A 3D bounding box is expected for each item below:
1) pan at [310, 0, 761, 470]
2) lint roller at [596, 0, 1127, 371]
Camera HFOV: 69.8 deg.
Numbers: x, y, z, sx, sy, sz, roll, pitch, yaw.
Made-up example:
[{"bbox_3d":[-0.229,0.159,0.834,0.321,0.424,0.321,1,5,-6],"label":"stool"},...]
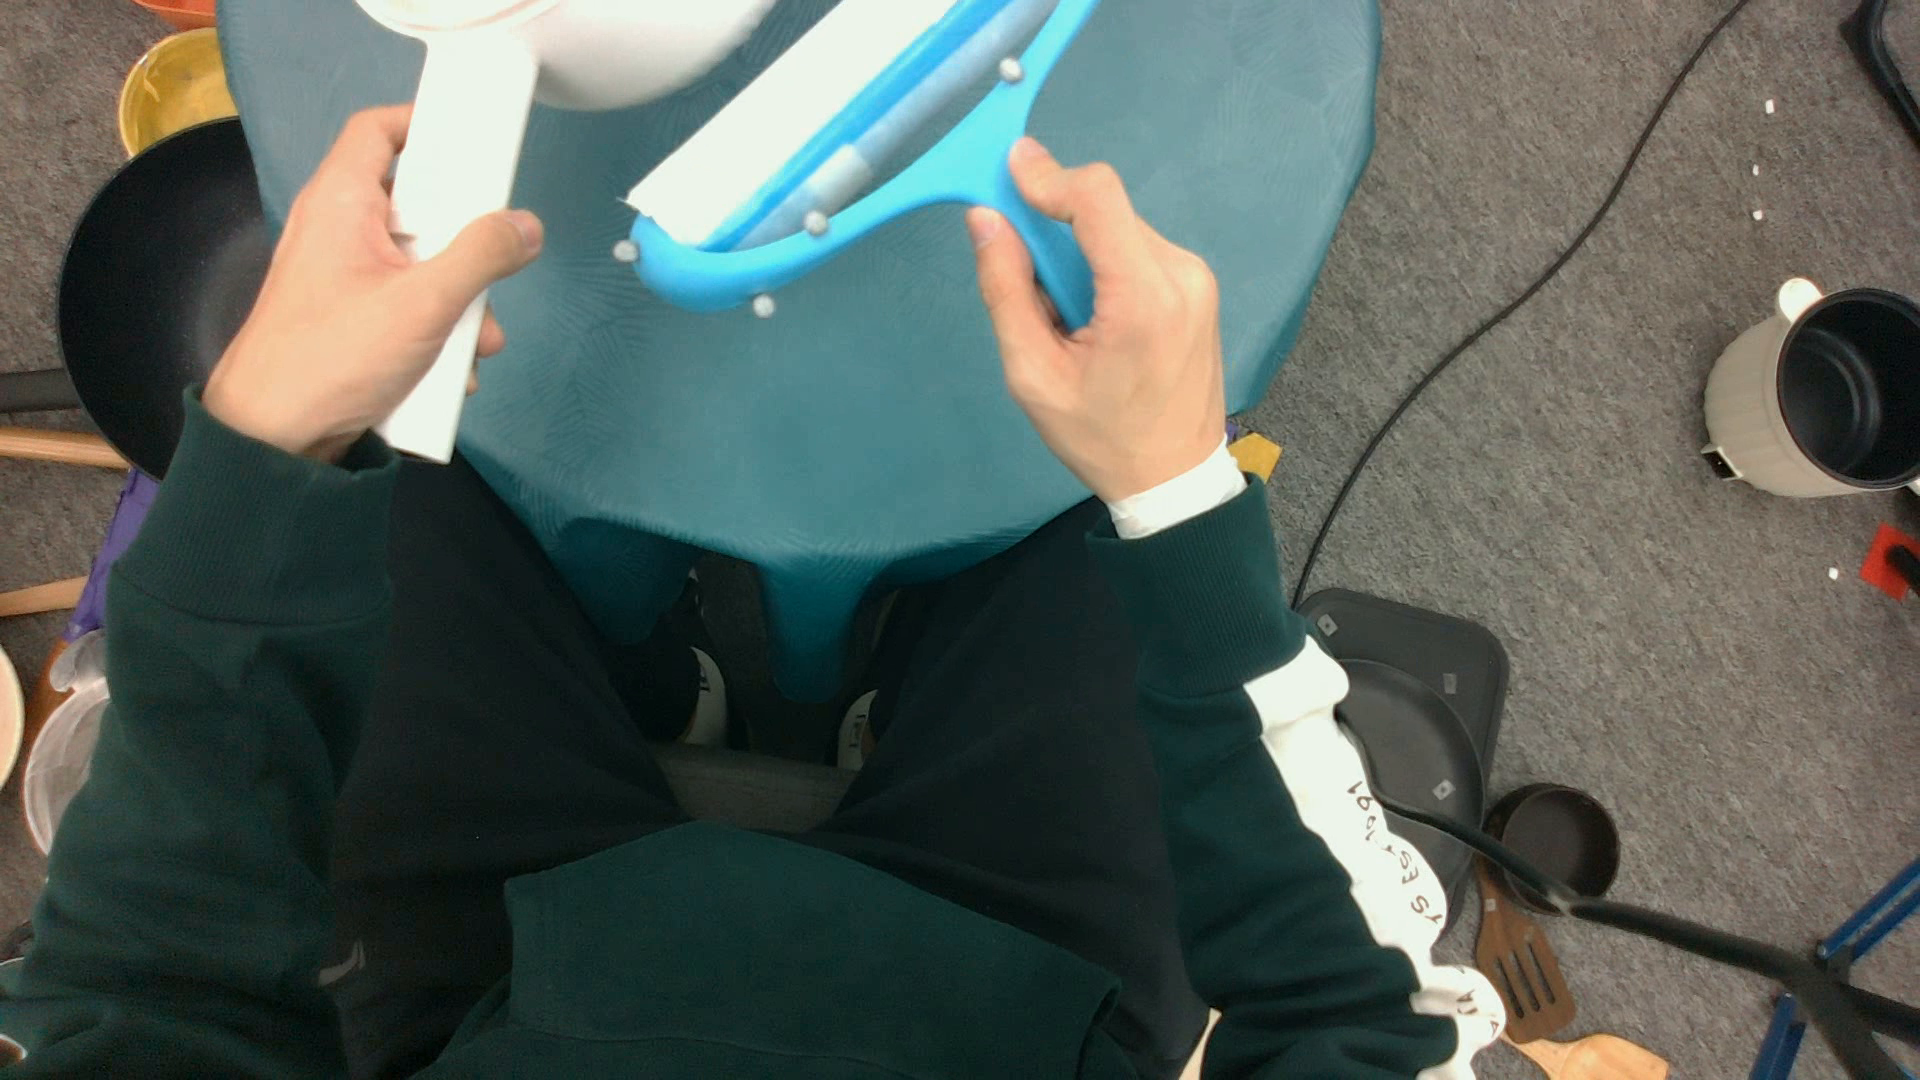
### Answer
[{"bbox_3d":[-0.171,-0.197,0.552,0.201,0.102,0.355,5,82,29],"label":"pan"},{"bbox_3d":[-0.003,-0.136,0.510,0.180,0.068,0.229,42,83,4],"label":"lint roller"}]
